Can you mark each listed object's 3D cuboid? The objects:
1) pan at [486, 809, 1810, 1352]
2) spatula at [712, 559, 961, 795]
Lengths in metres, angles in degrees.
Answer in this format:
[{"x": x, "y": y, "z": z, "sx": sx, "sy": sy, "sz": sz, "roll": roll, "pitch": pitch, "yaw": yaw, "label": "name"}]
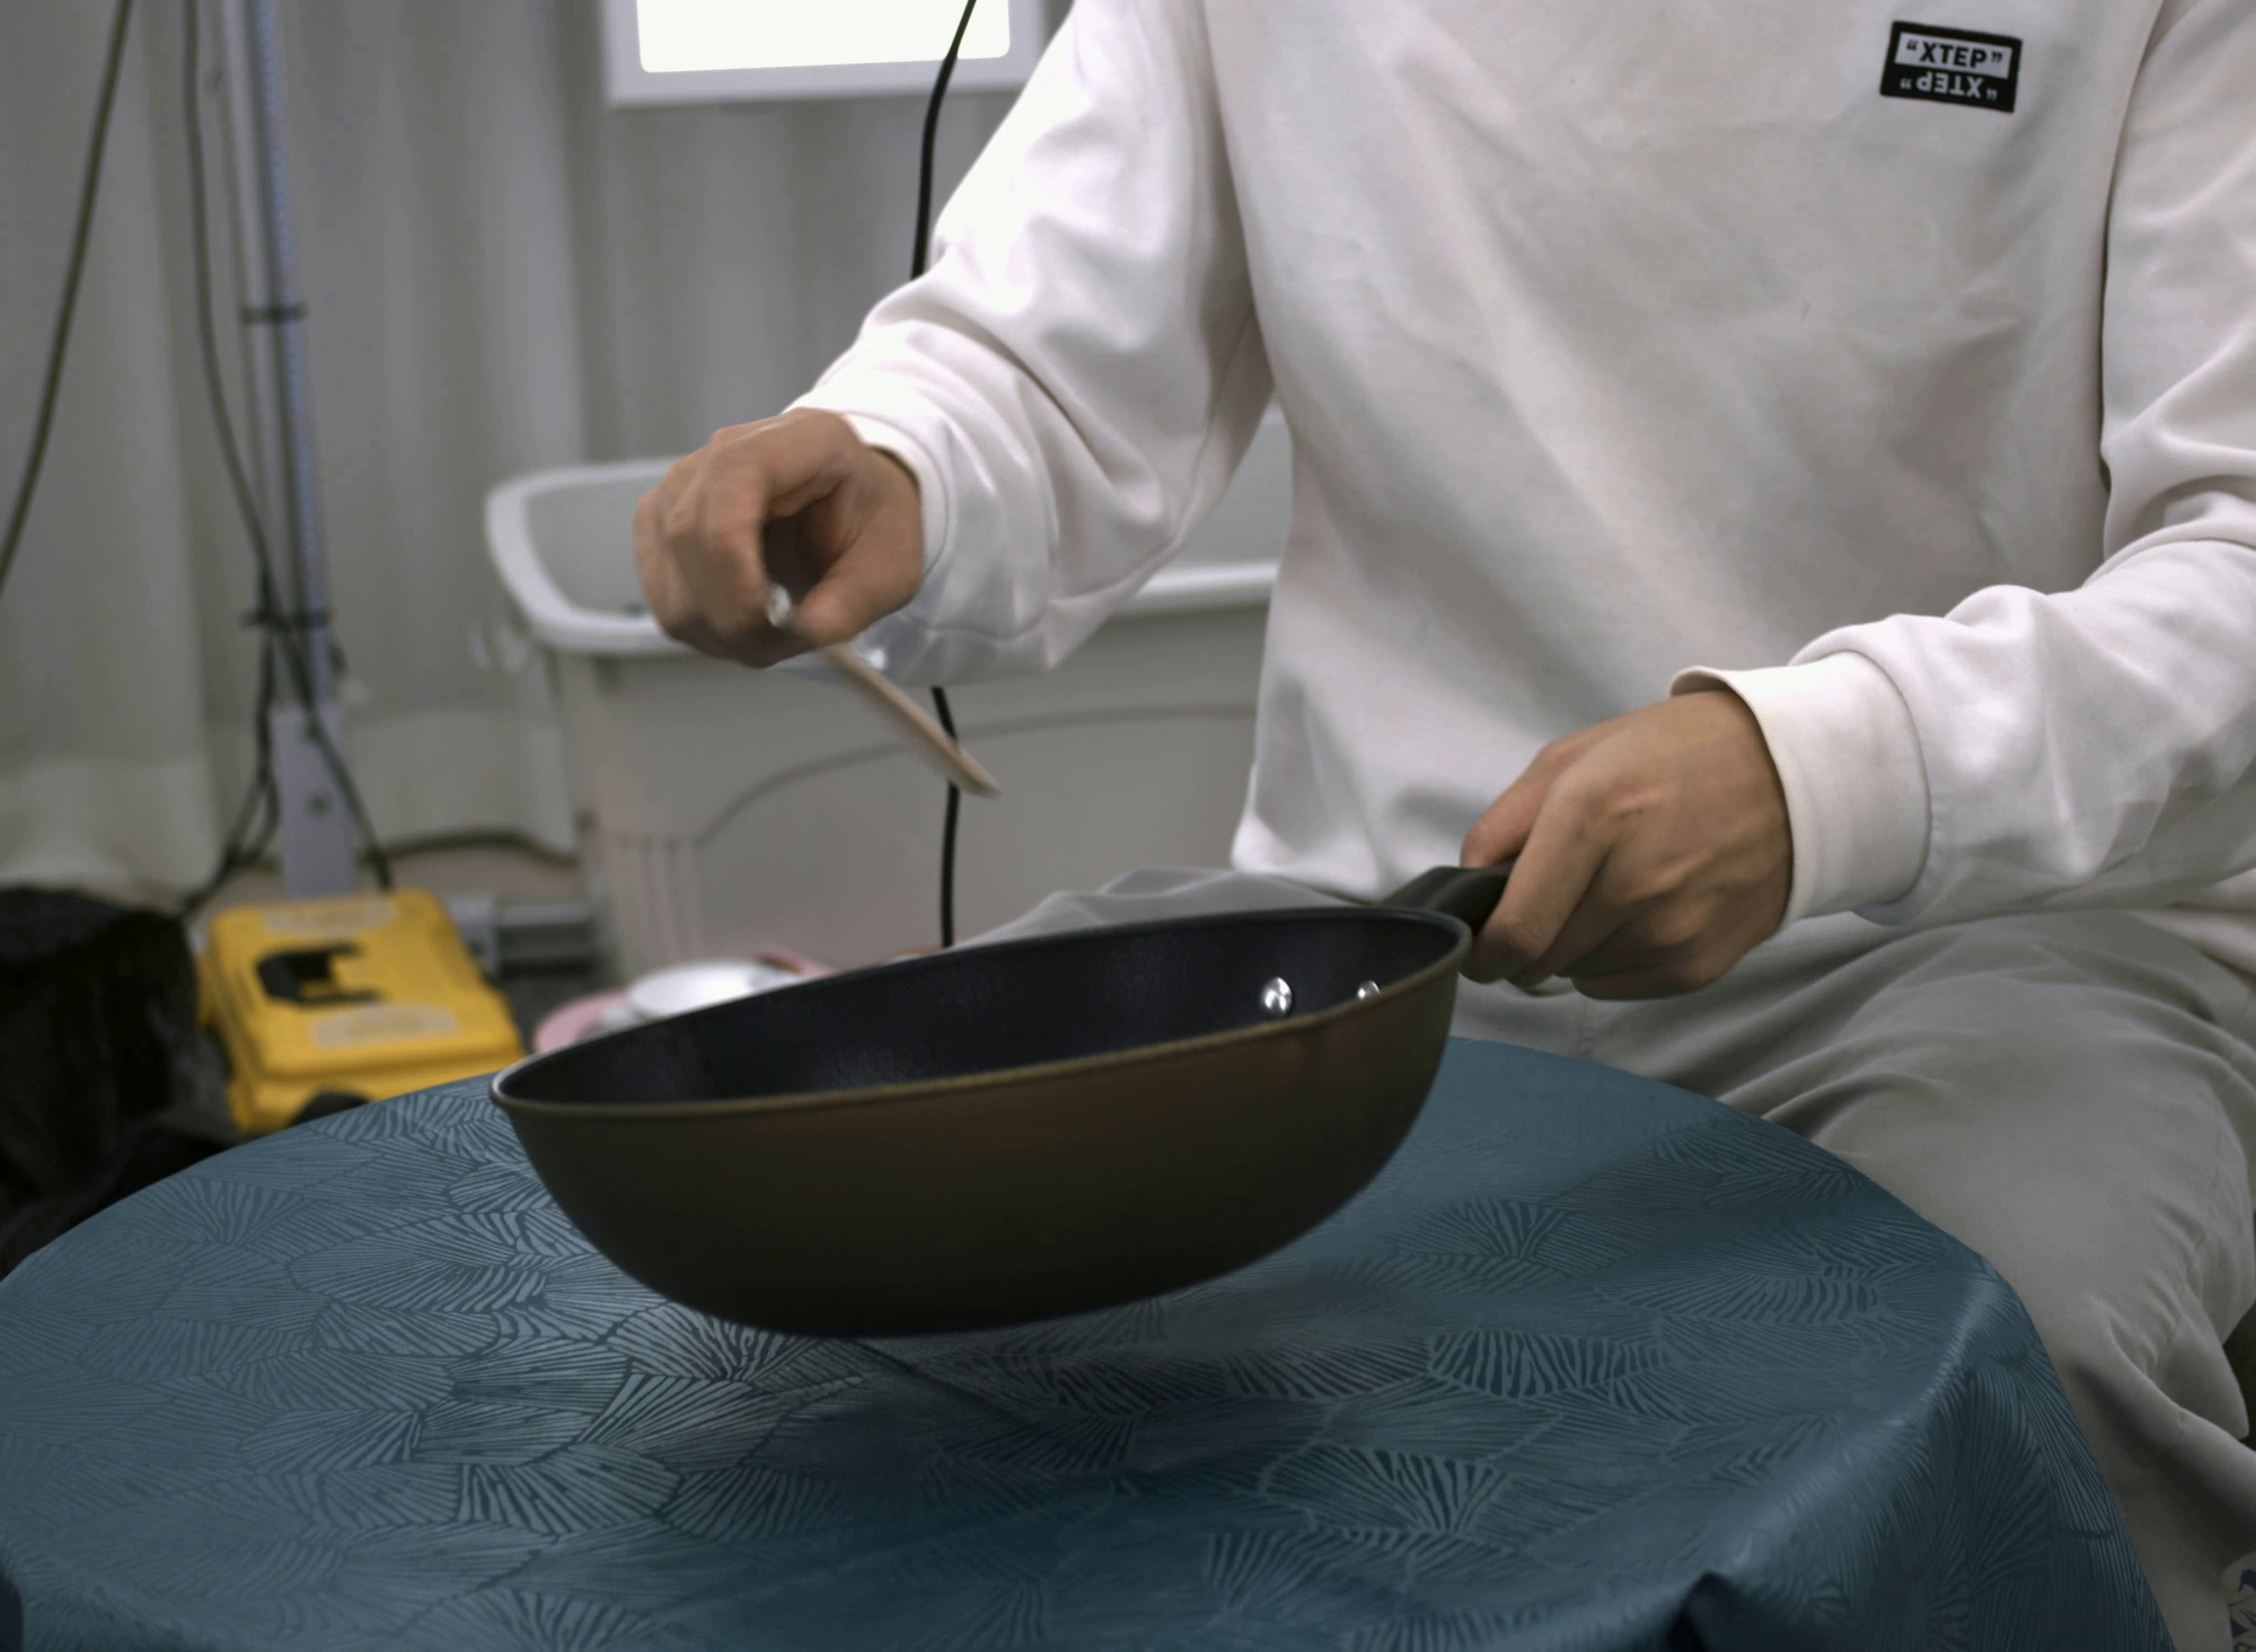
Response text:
[{"x": 0.033, "y": 0.073, "z": 1.594, "sx": 0.462, "sy": 0.087, "sz": 0.289, "roll": -14, "pitch": 8, "yaw": -39, "label": "pan"}, {"x": -0.101, "y": -0.055, "z": 1.663, "sx": 0.010, "sy": 0.072, "sz": 0.295, "roll": -48, "pitch": 15, "yaw": 0, "label": "spatula"}]
